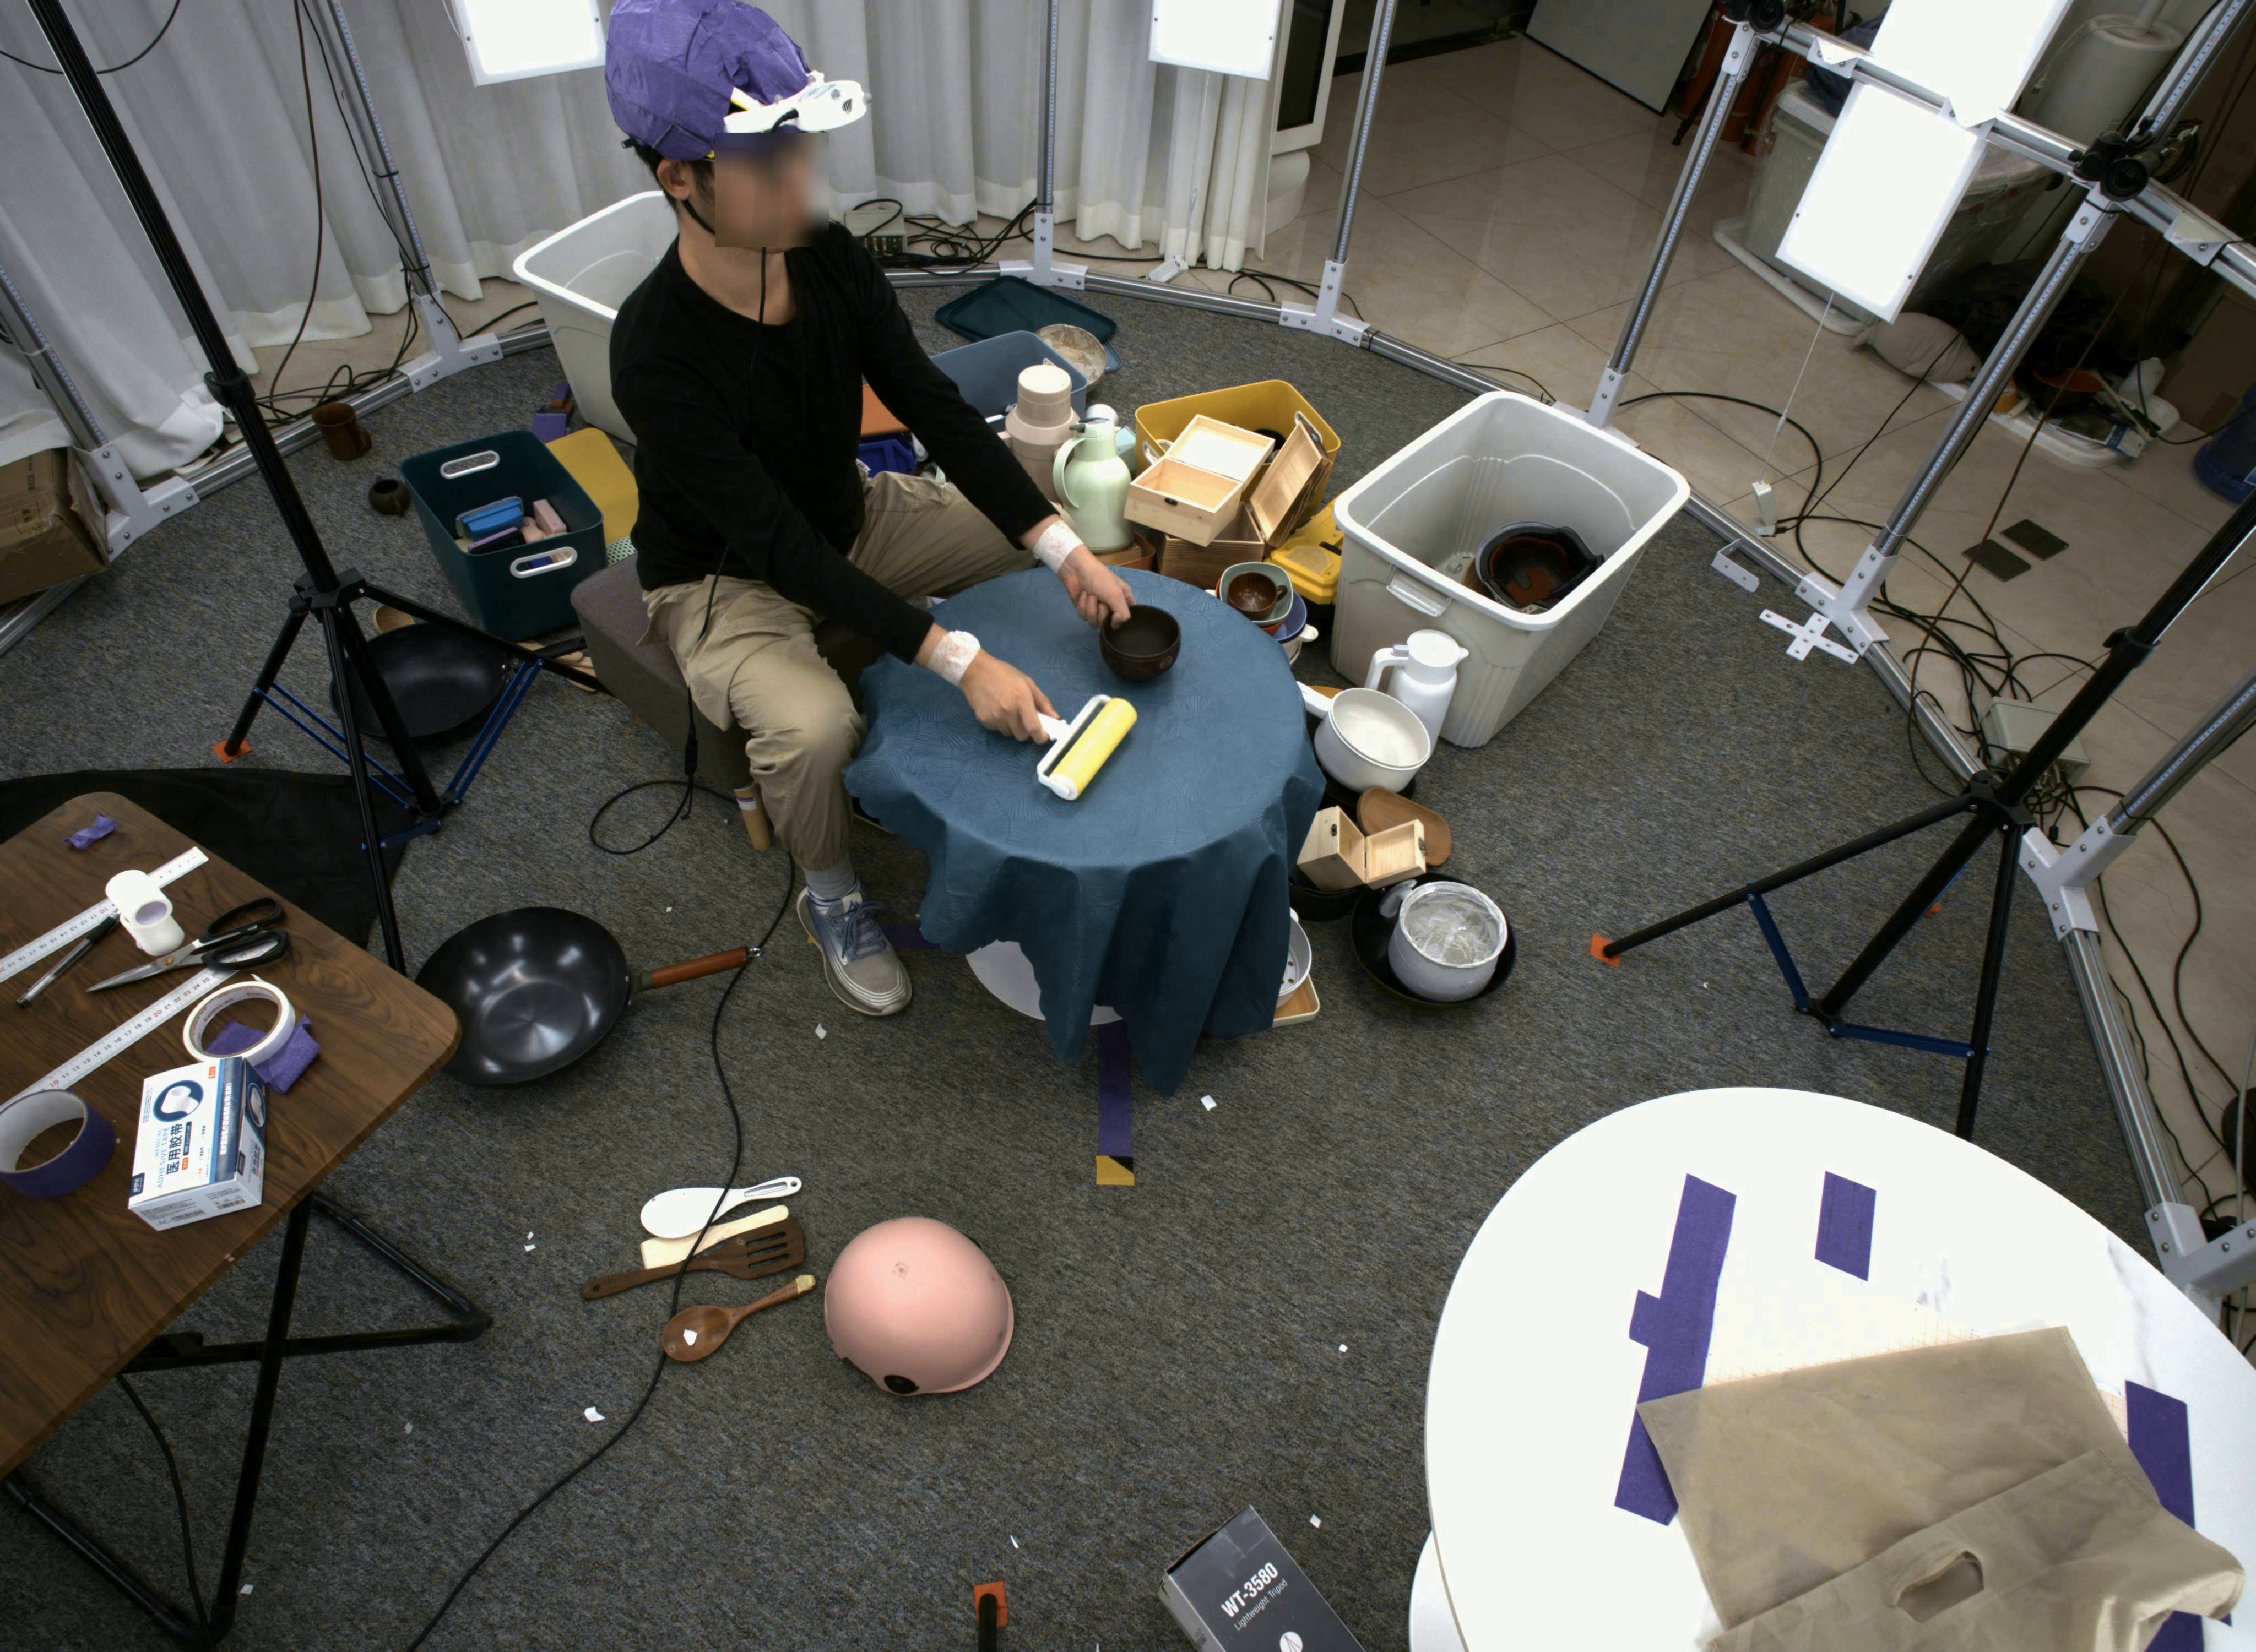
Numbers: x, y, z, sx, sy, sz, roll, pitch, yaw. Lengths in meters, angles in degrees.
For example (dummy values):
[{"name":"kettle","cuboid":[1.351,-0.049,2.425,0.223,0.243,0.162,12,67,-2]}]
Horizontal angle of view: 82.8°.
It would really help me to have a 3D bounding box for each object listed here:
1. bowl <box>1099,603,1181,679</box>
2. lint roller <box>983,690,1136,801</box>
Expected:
[{"name":"bowl","cuboid":[0.016,-0.258,1.846,0.118,0.068,0.121,2,48,-3]},{"name":"lint roller","cuboid":[-0.108,-0.141,1.731,0.192,0.050,0.177,31,56,5]}]
